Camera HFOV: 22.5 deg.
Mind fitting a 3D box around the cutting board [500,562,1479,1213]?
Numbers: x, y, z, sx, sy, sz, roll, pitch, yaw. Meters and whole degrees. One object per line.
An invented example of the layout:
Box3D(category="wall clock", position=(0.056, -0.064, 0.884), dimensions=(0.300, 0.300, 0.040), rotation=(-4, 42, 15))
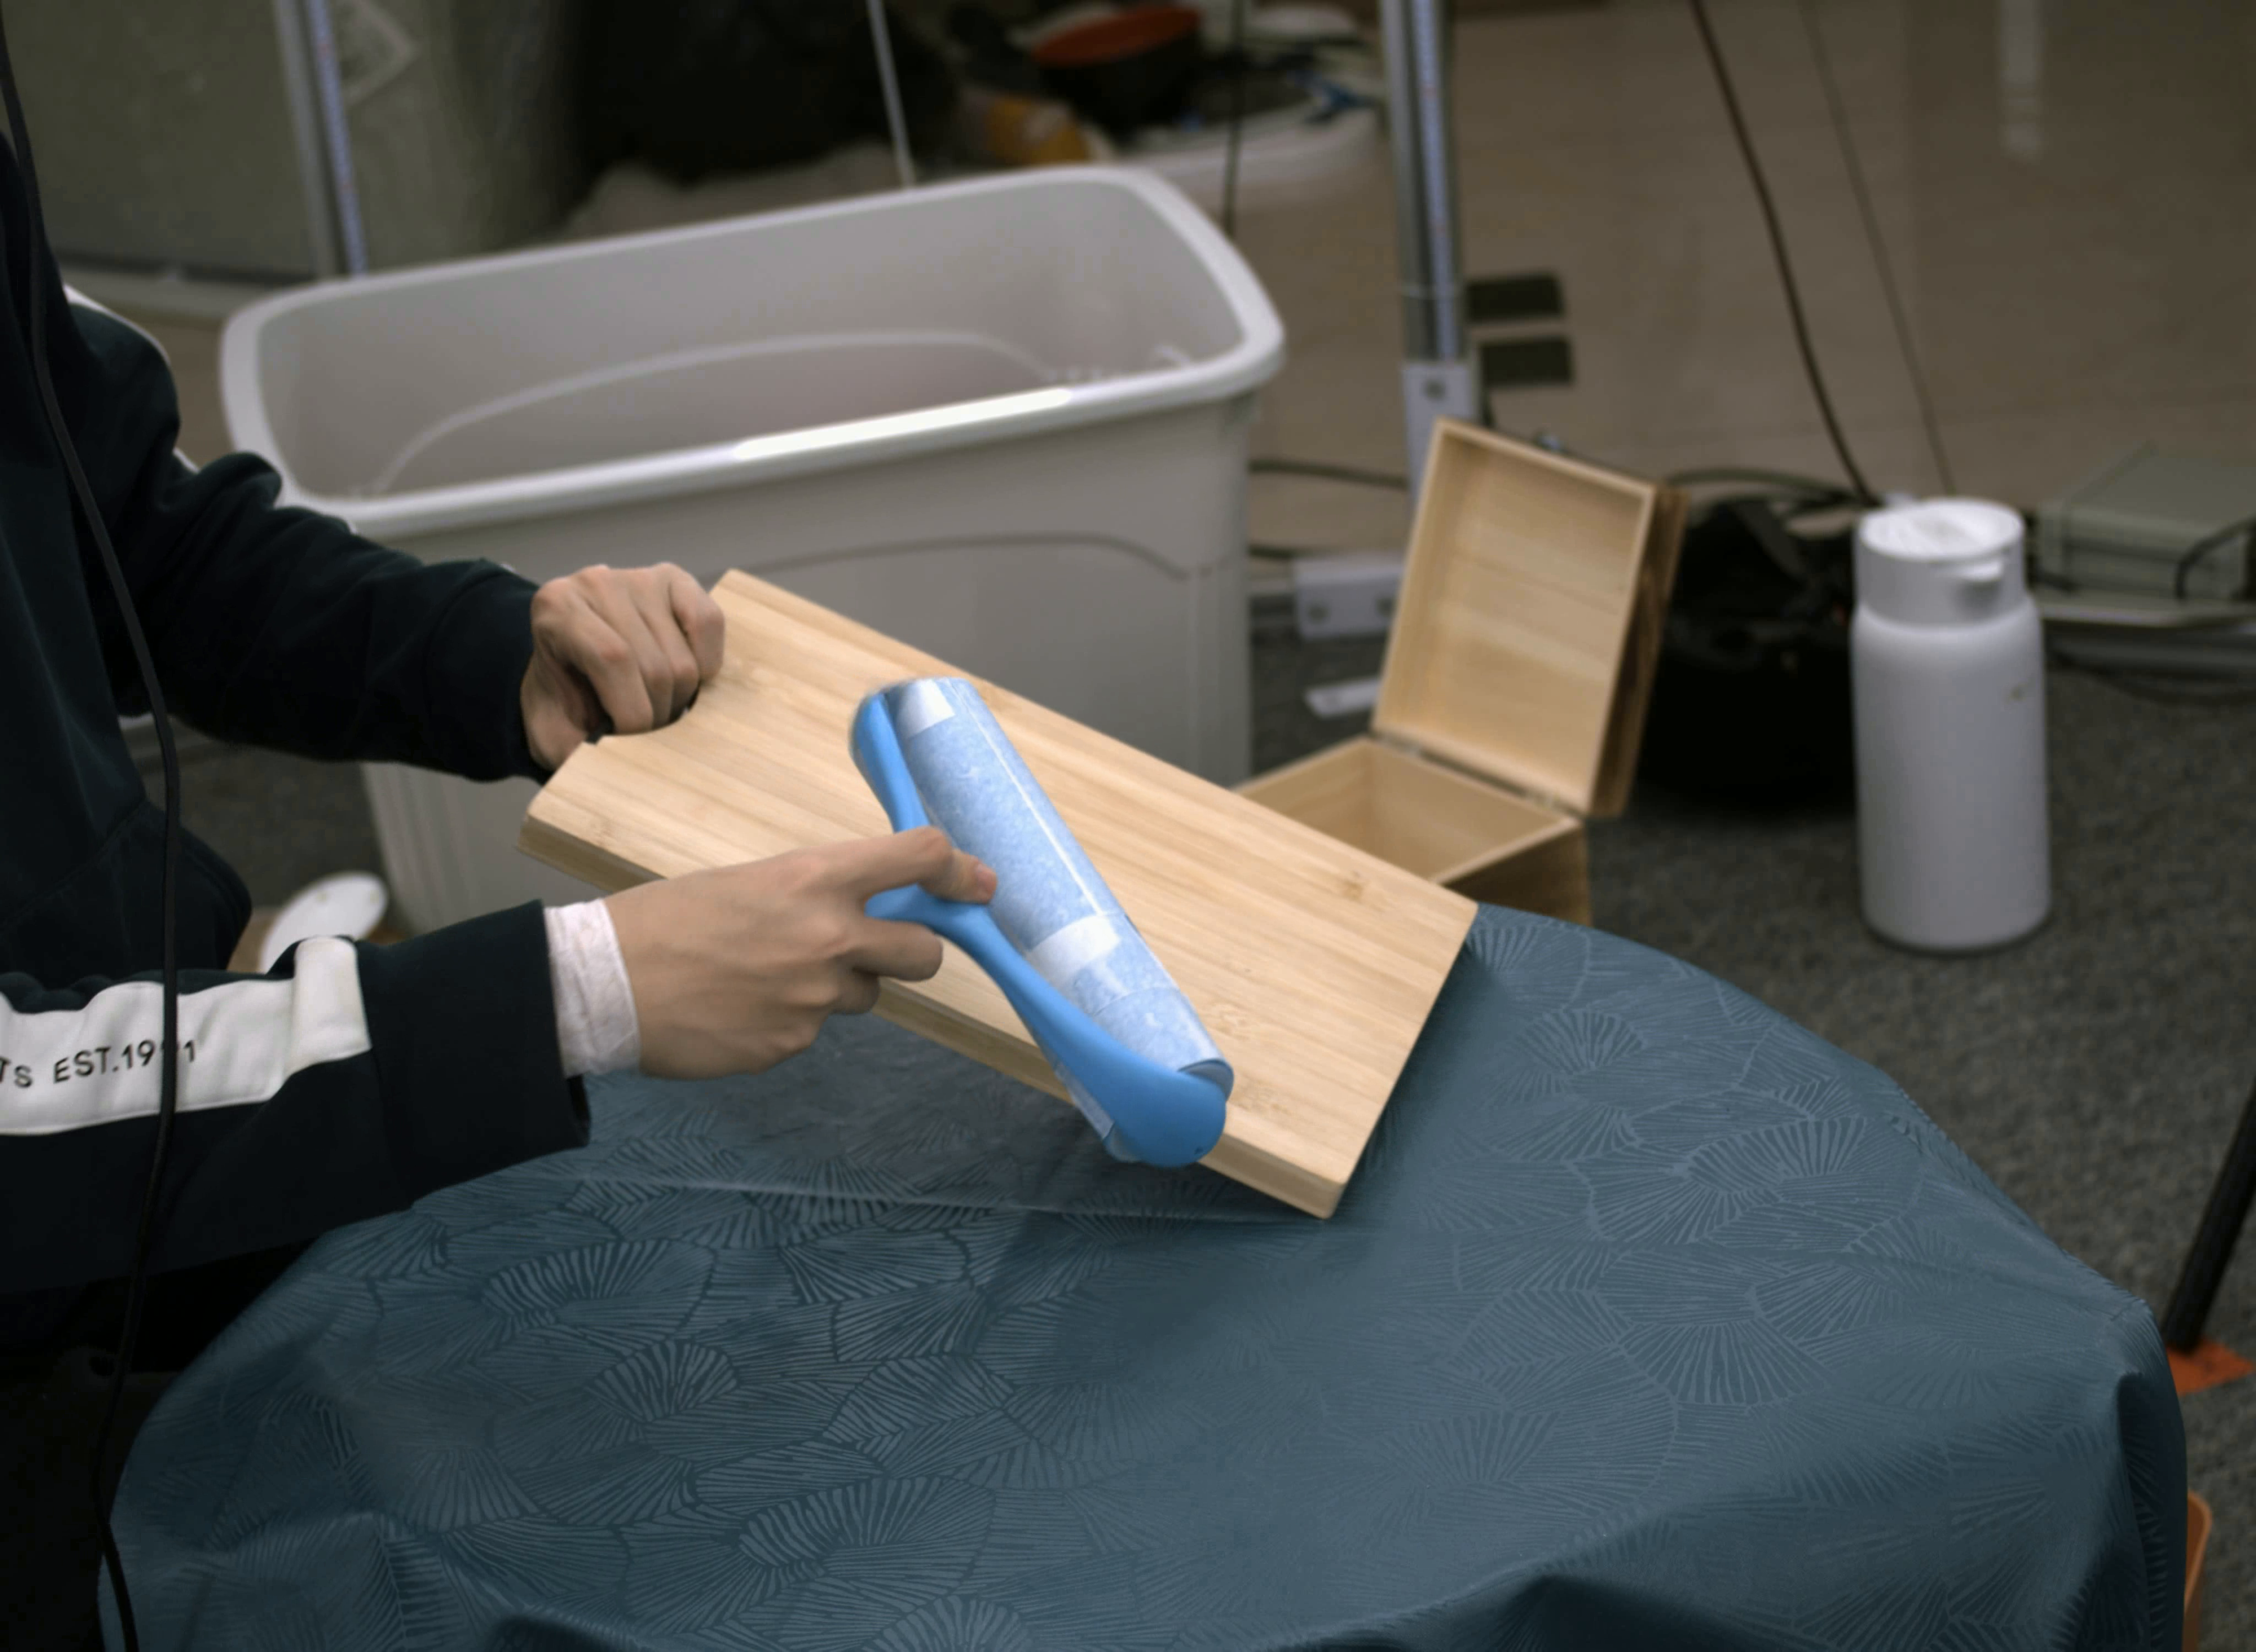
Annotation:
Box3D(category="cutting board", position=(-0.048, 0.019, 2.217), dimensions=(0.348, 0.024, 0.247), rotation=(24, 30, 3))

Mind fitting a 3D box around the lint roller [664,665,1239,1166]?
Box3D(category="lint roller", position=(-0.078, 0.044, 2.011), dimensions=(0.179, 0.069, 0.226), rotation=(-16, 59, -35))
